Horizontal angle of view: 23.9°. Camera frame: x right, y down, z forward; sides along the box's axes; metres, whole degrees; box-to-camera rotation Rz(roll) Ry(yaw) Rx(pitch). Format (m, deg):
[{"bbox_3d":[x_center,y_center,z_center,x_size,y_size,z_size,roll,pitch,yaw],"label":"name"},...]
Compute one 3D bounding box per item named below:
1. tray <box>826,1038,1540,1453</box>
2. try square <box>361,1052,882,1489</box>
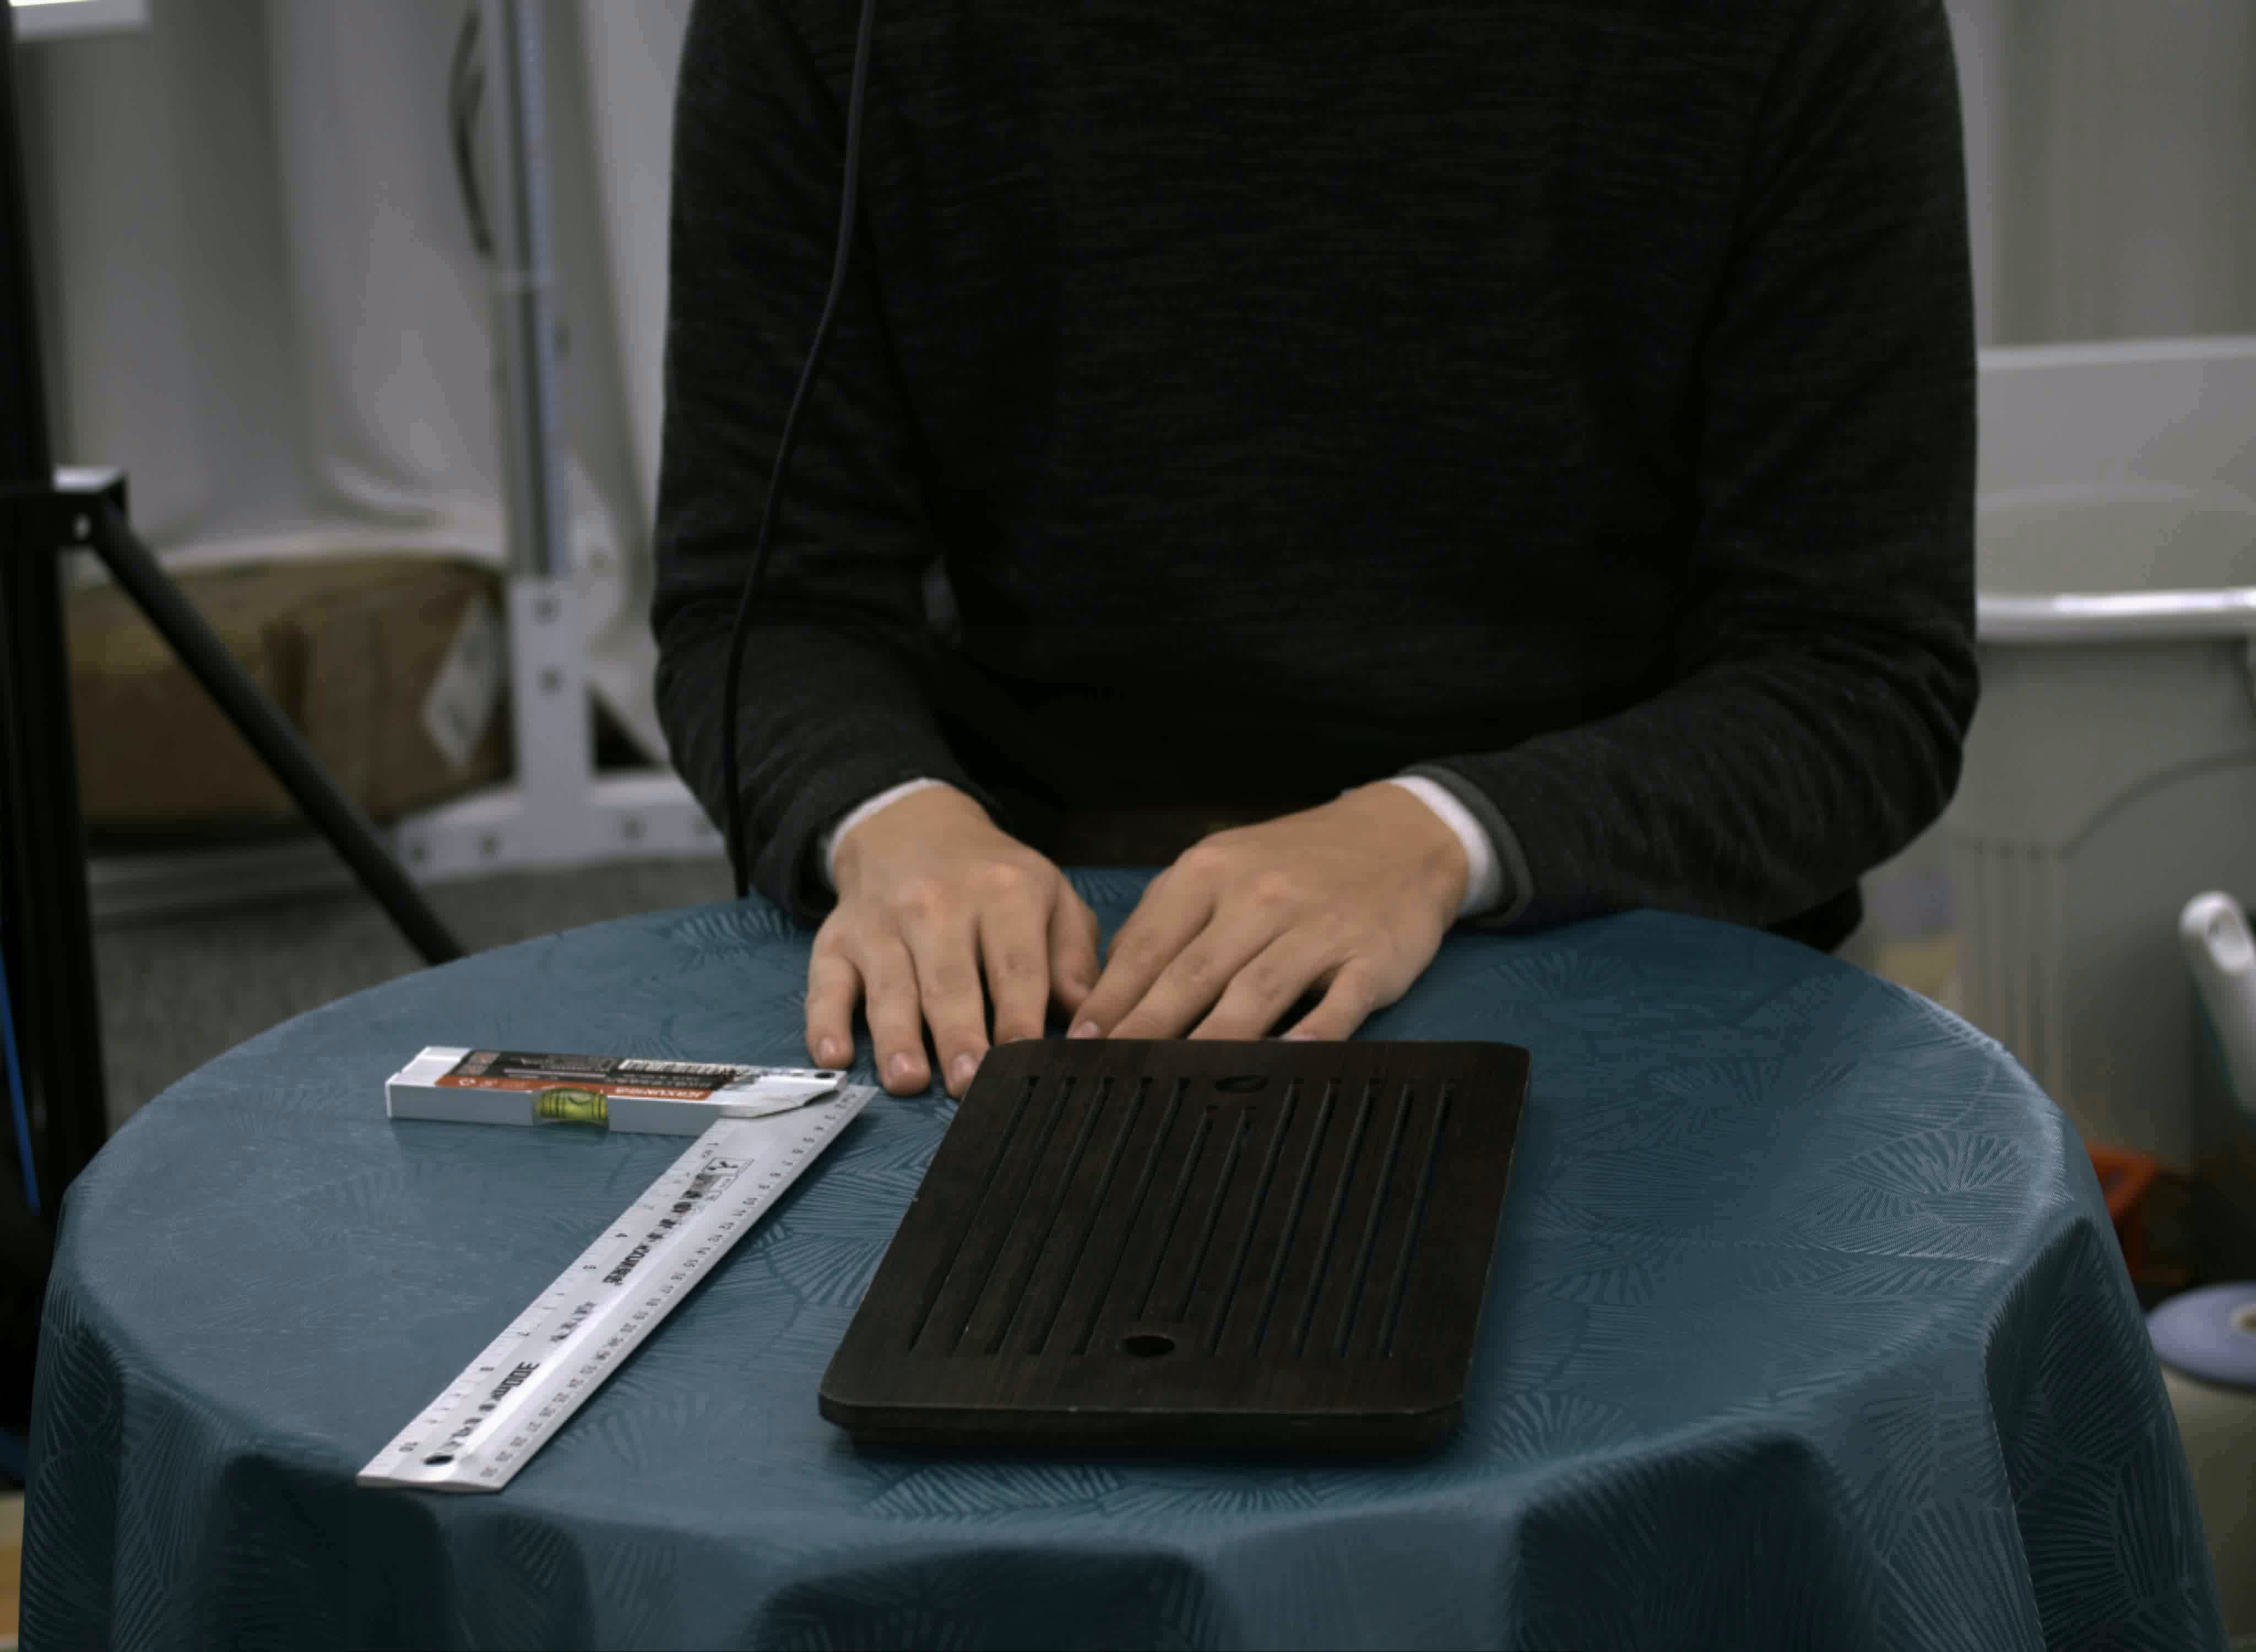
[{"bbox_3d":[0.024,0.115,1.494,0.170,0.018,0.305,-1,16,9],"label":"tray"},{"bbox_3d":[-0.188,0.123,1.525,0.154,0.016,0.310,1,17,17],"label":"try square"}]
